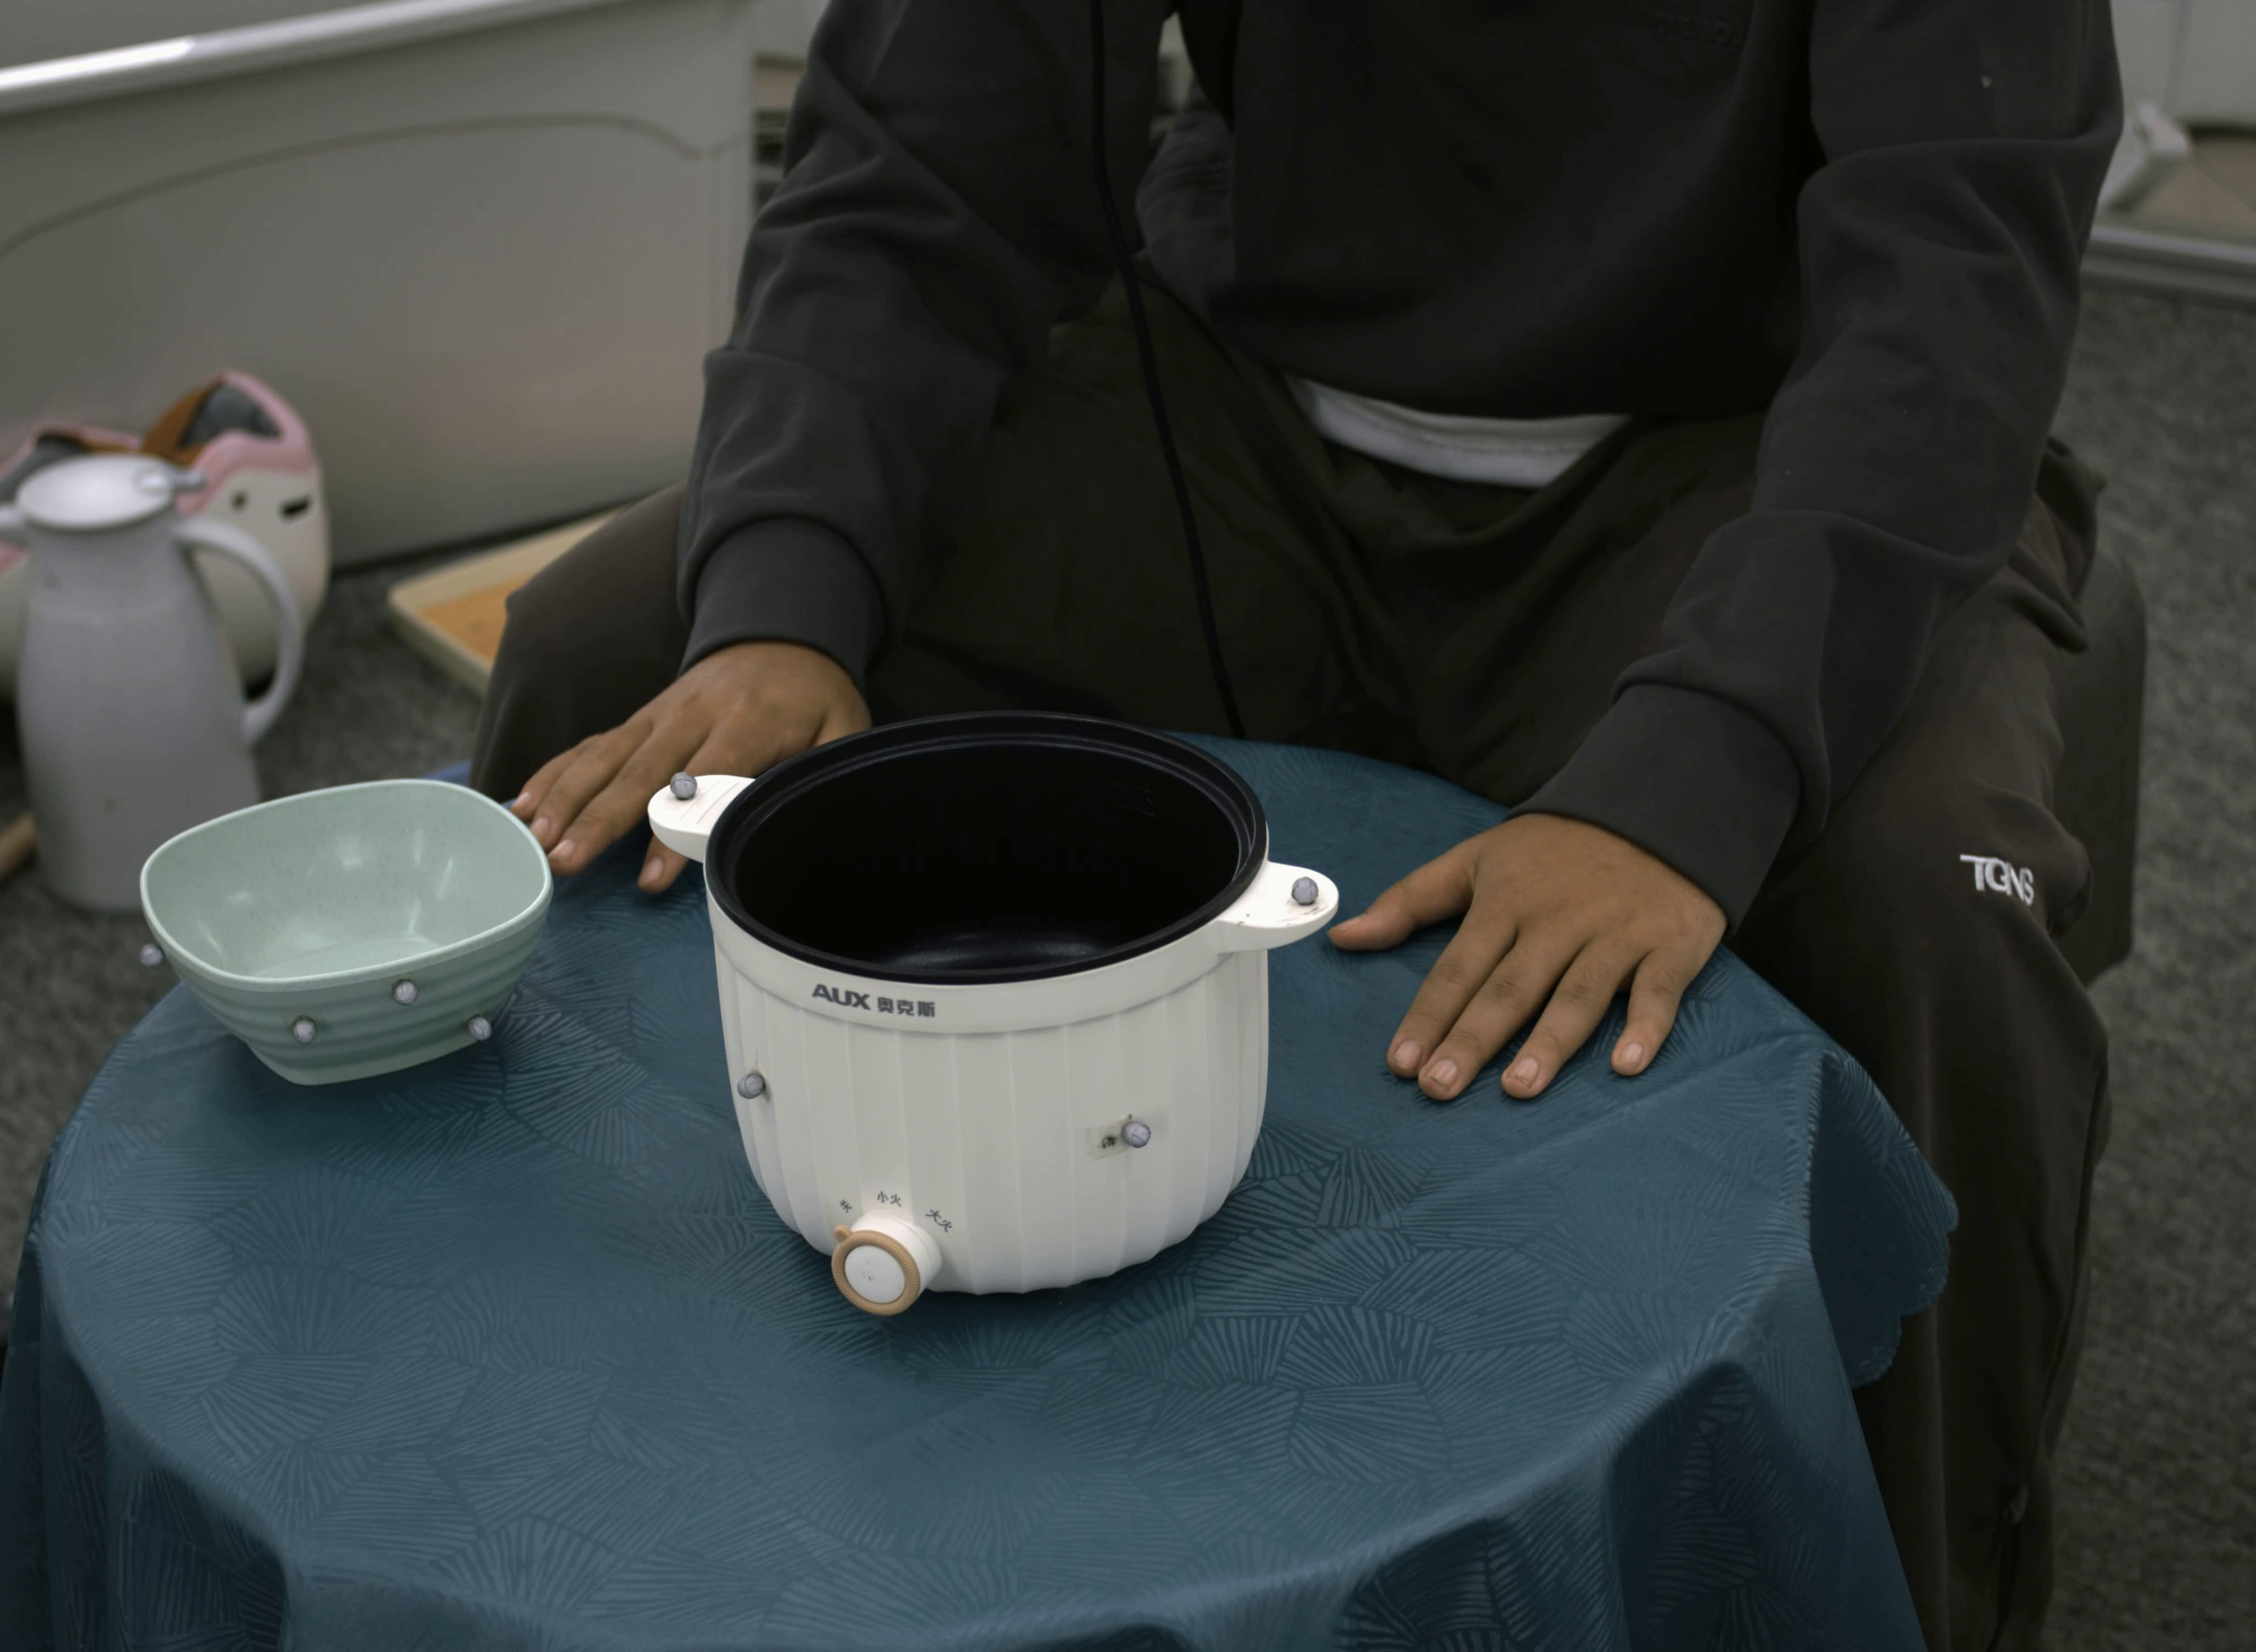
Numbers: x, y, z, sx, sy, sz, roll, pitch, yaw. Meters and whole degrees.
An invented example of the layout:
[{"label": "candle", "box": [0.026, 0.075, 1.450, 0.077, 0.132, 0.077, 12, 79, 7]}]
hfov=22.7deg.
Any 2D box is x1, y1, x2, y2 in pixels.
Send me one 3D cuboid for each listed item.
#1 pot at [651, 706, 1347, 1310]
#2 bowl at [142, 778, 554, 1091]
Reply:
[{"label": "pot", "box": [-0.042, 0.063, 1.831, 0.238, 0.141, 0.193, 6, 25, 21]}, {"label": "bowl", "box": [-0.272, 0.045, 1.978, 0.151, 0.058, 0.154, -1, 29, 1]}]
